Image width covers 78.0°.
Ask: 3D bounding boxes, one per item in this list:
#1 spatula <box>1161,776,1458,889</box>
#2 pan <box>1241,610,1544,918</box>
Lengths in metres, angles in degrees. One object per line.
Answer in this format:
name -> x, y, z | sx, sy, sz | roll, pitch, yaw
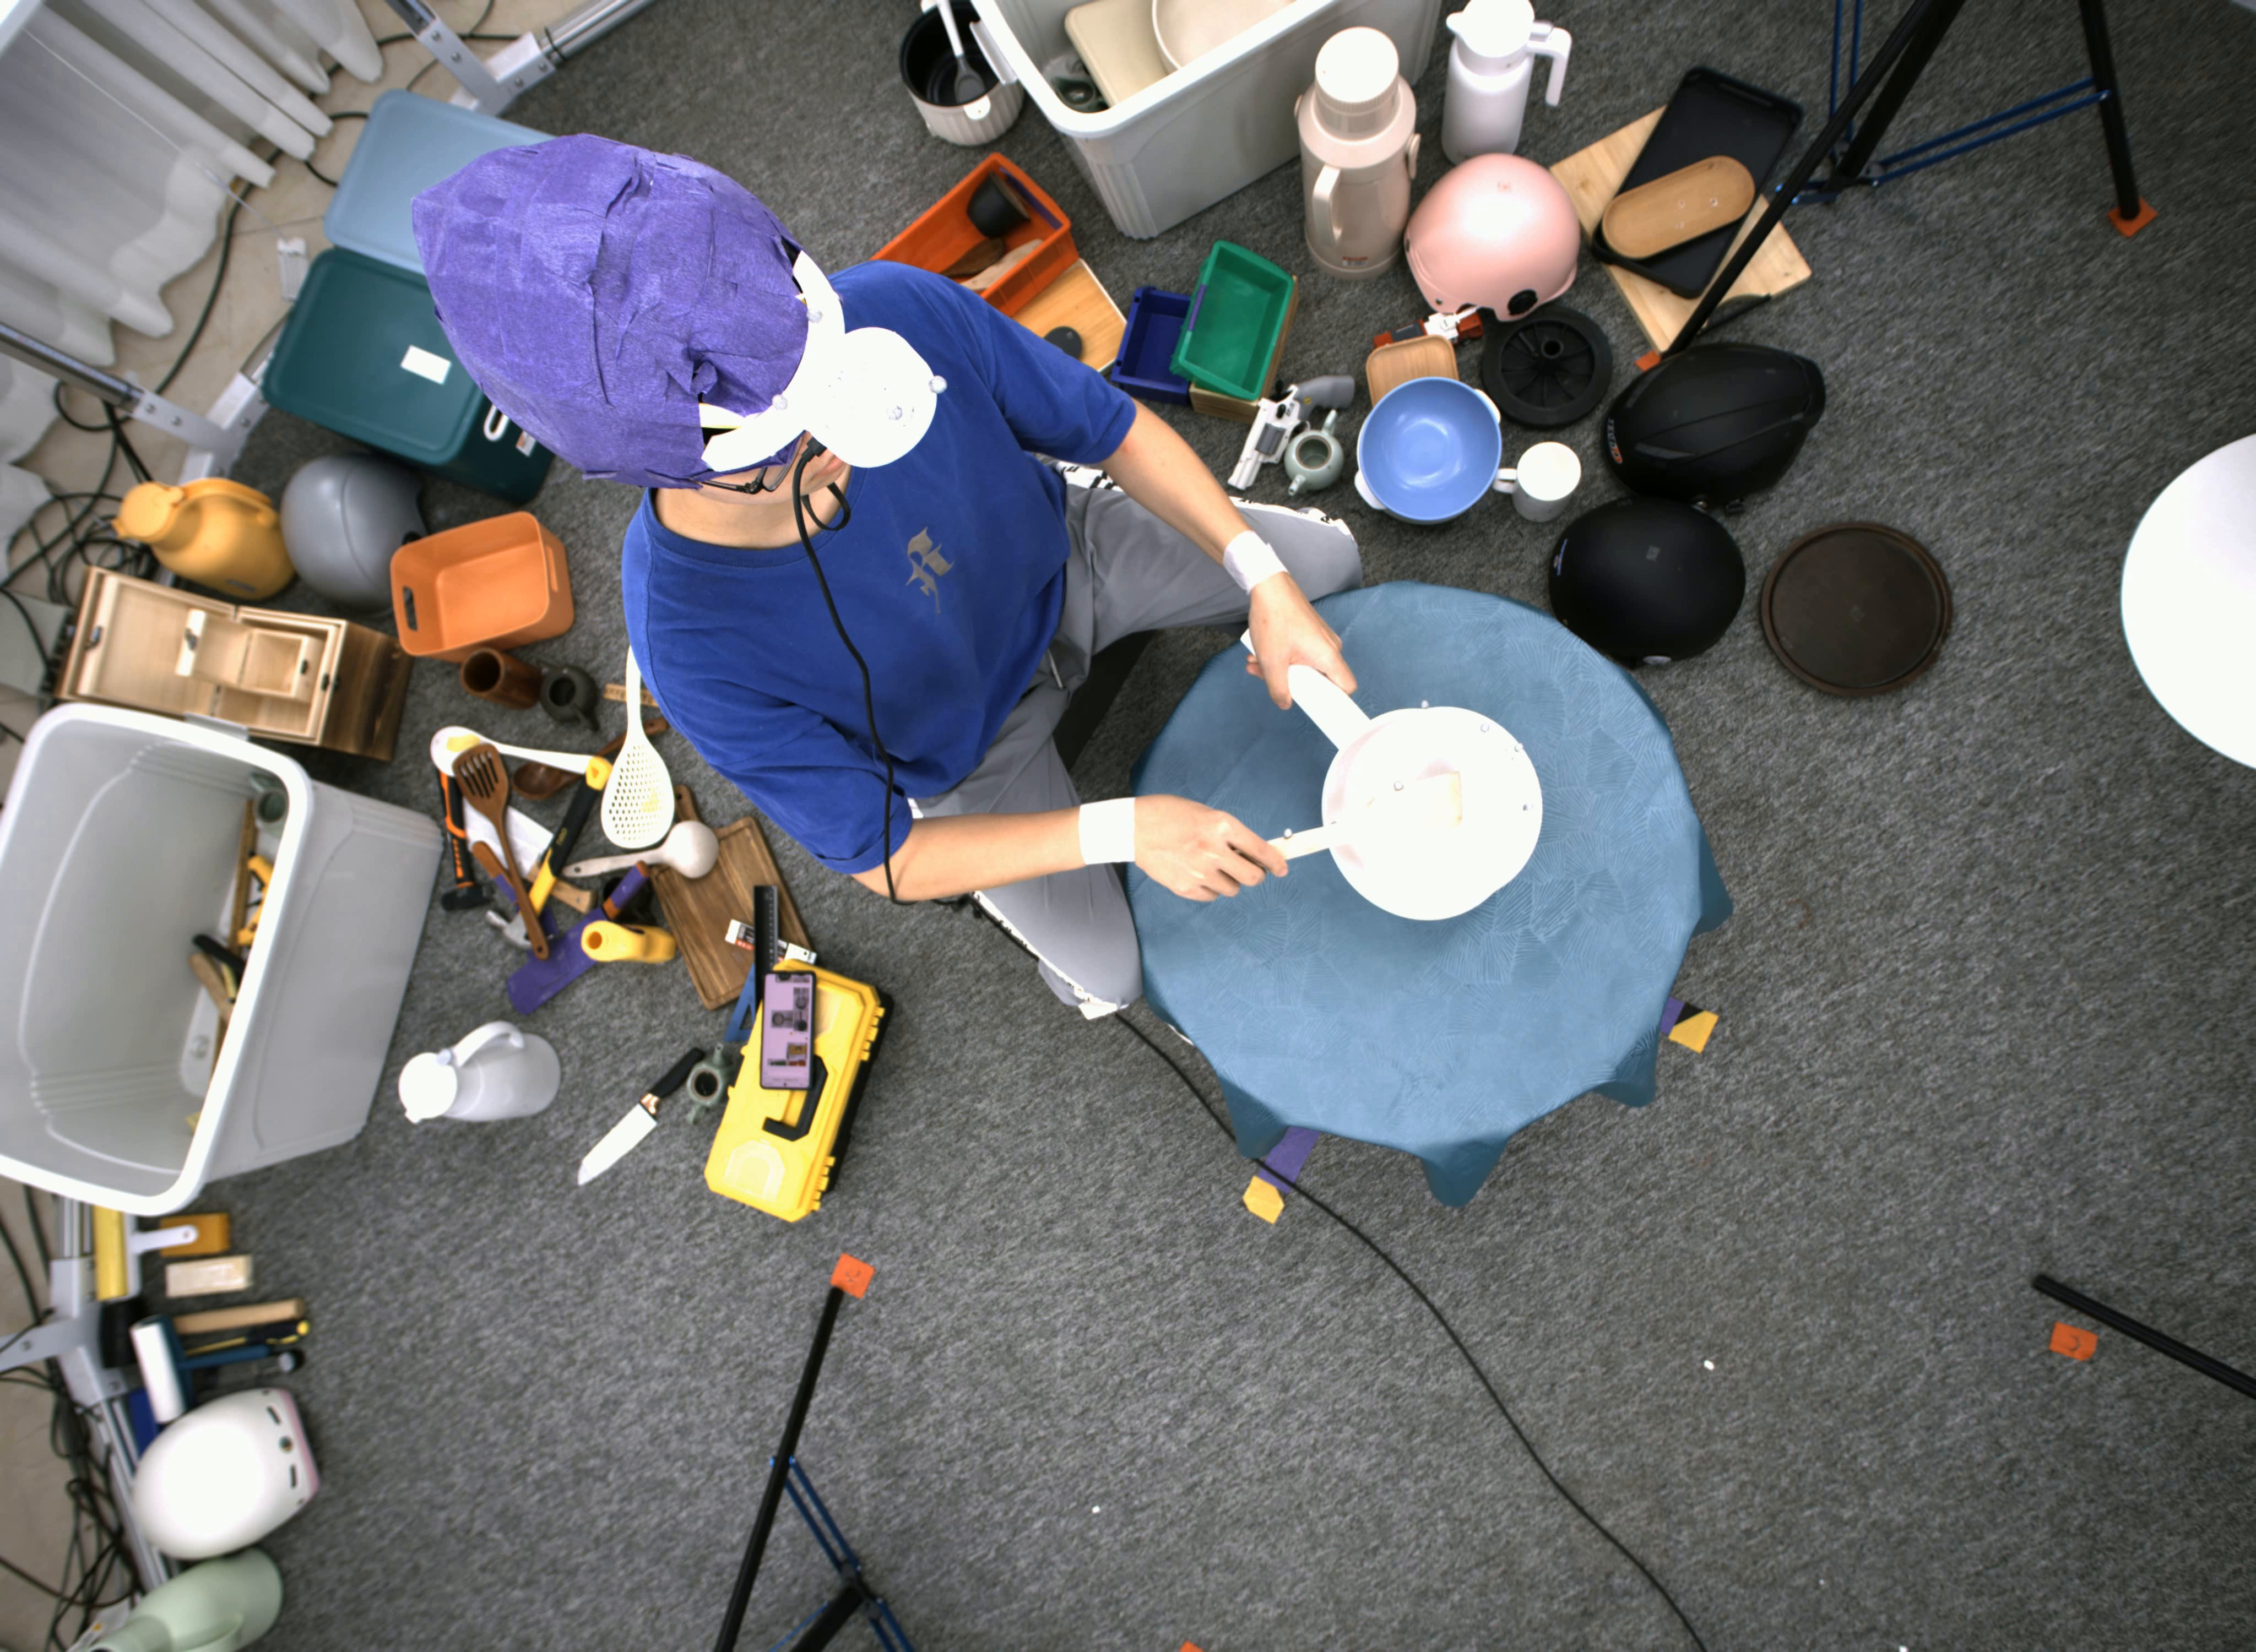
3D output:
spatula -> 0.173, 0.013, 1.308 | 0.293, 0.074, 0.010 | -15, 45, 1
pan -> 0.254, -0.077, 1.355 | 0.352, 0.100, 0.206 | 50, 127, 15
